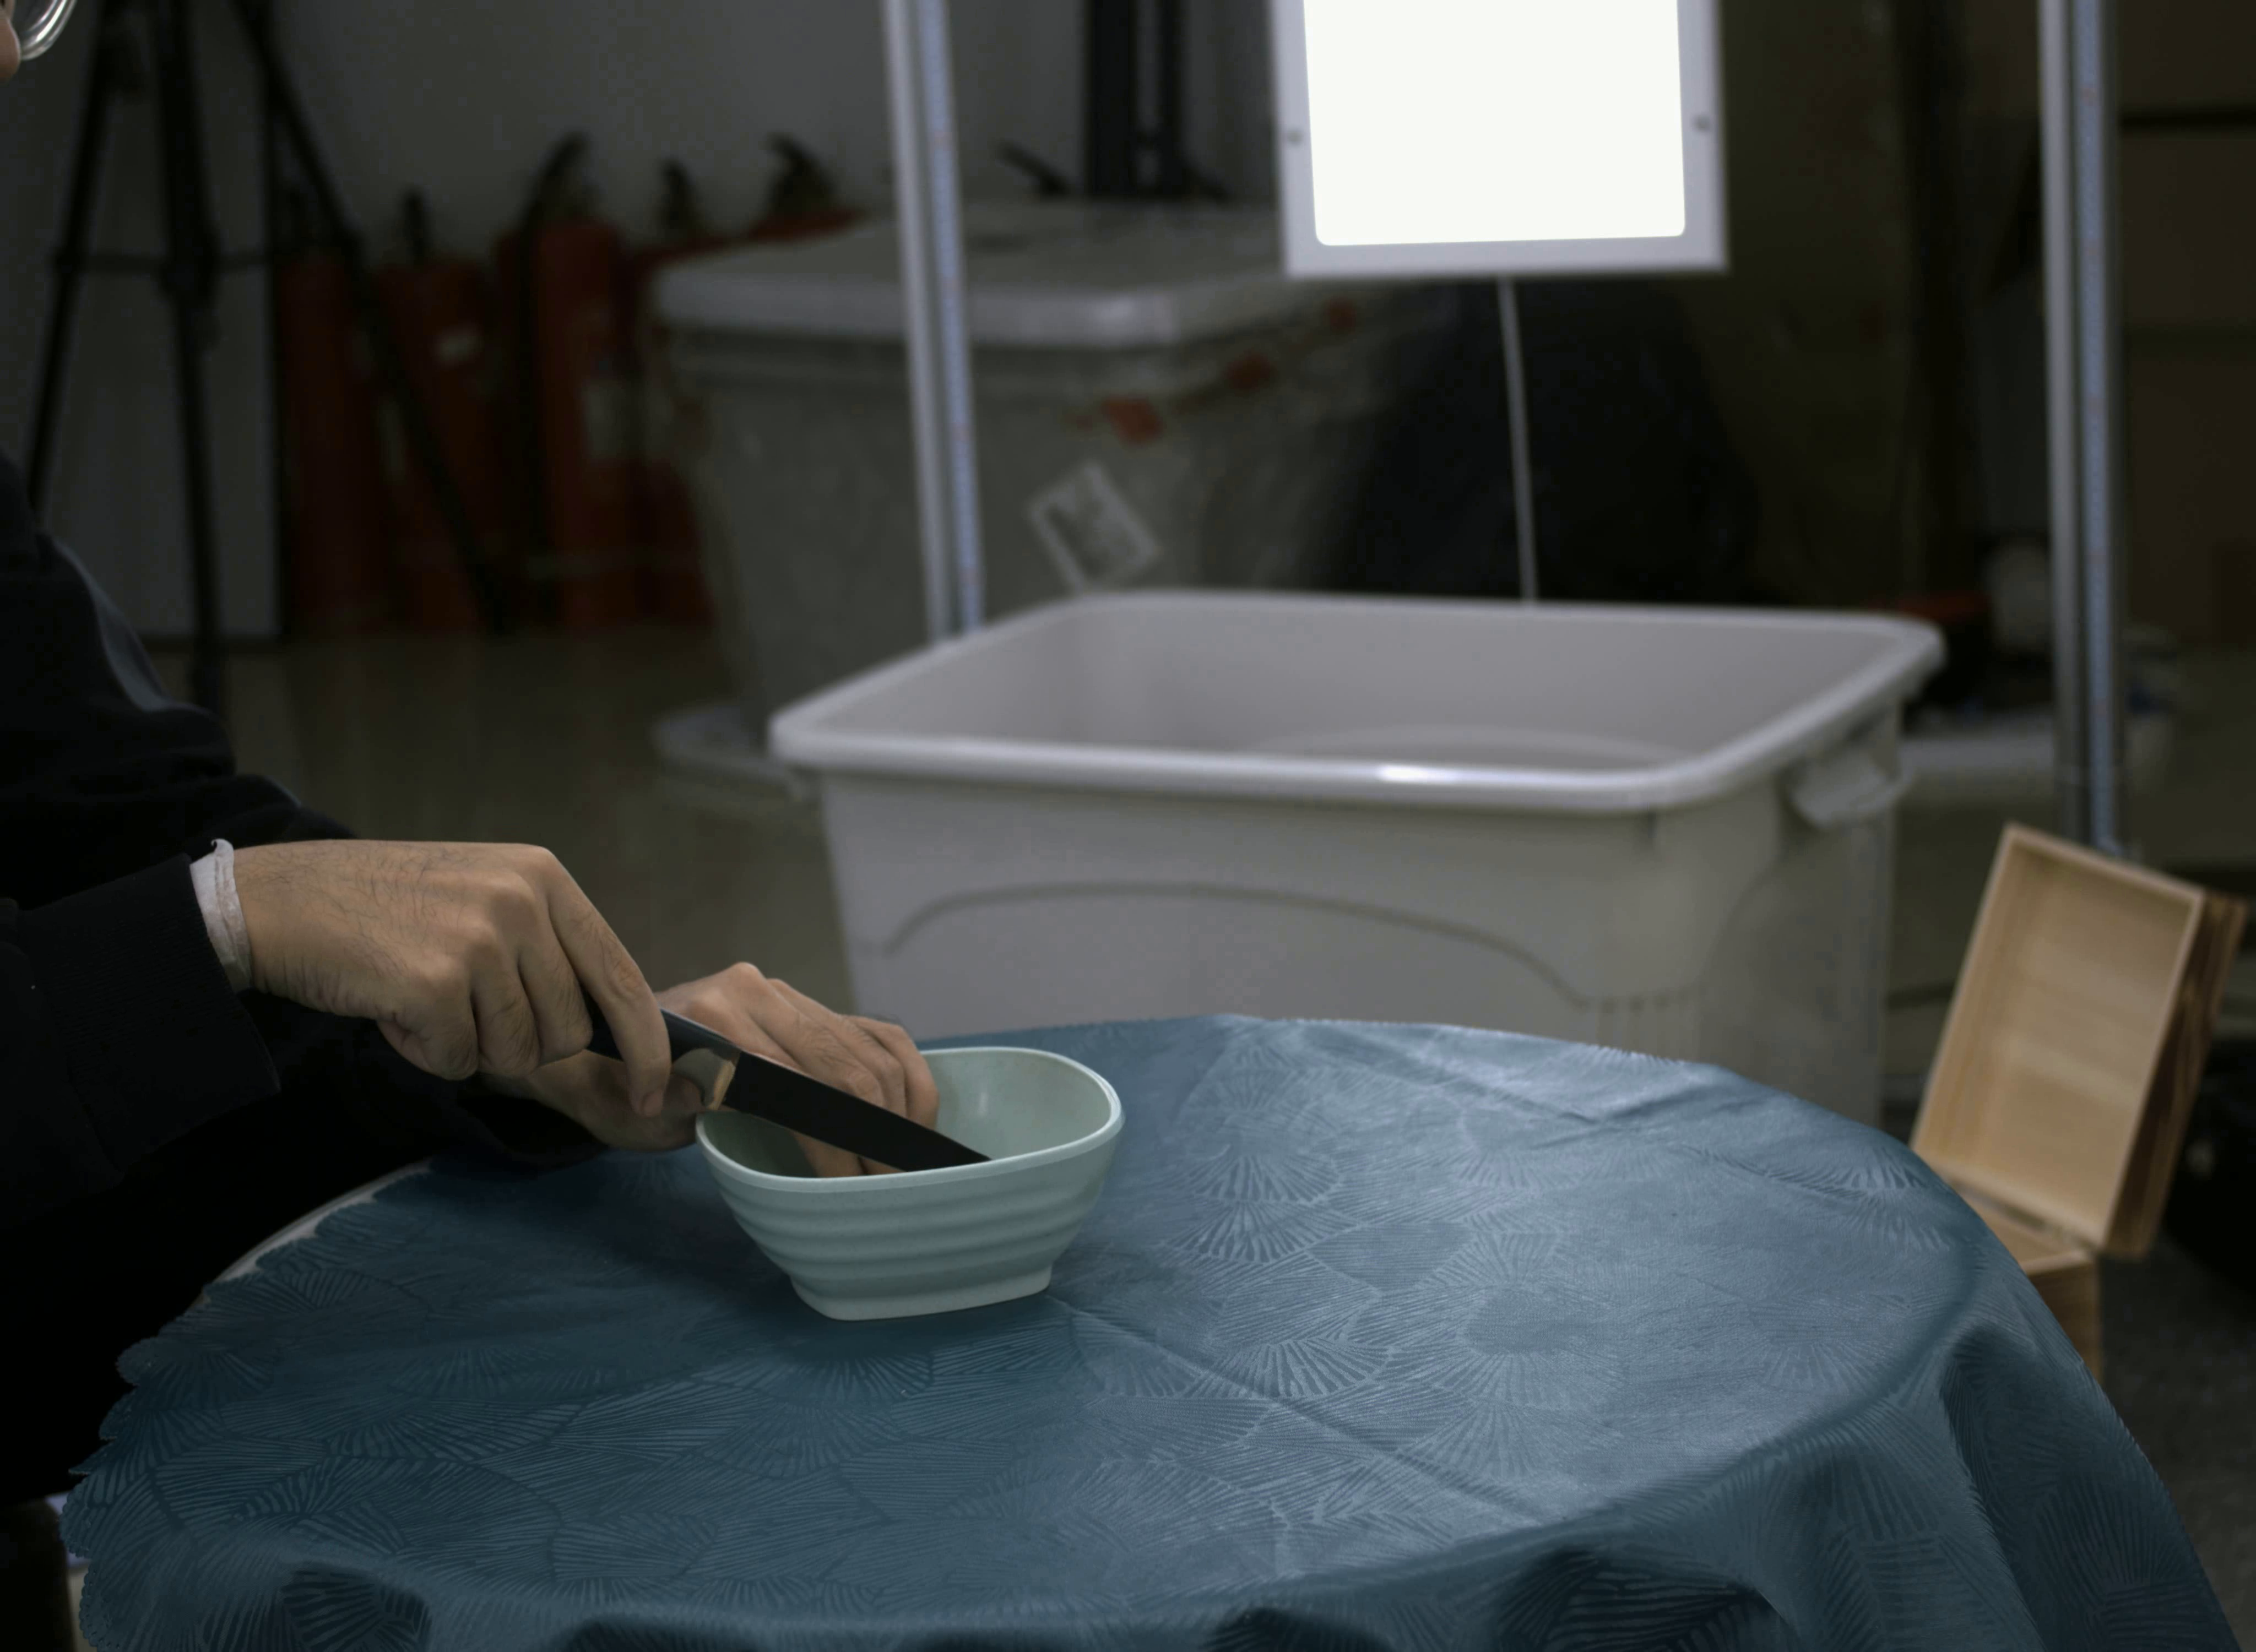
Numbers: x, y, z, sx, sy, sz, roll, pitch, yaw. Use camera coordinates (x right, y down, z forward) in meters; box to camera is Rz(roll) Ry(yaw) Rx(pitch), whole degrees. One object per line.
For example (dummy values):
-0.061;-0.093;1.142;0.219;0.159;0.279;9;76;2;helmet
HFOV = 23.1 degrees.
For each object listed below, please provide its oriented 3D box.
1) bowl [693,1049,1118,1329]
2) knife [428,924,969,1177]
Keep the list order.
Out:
-0.071;0.123;1.823;0.151;0.059;0.151;-5;15;0;bowl
-0.128;0.085;1.813;0.224;0.026;0.017;25;19;-7;knife
